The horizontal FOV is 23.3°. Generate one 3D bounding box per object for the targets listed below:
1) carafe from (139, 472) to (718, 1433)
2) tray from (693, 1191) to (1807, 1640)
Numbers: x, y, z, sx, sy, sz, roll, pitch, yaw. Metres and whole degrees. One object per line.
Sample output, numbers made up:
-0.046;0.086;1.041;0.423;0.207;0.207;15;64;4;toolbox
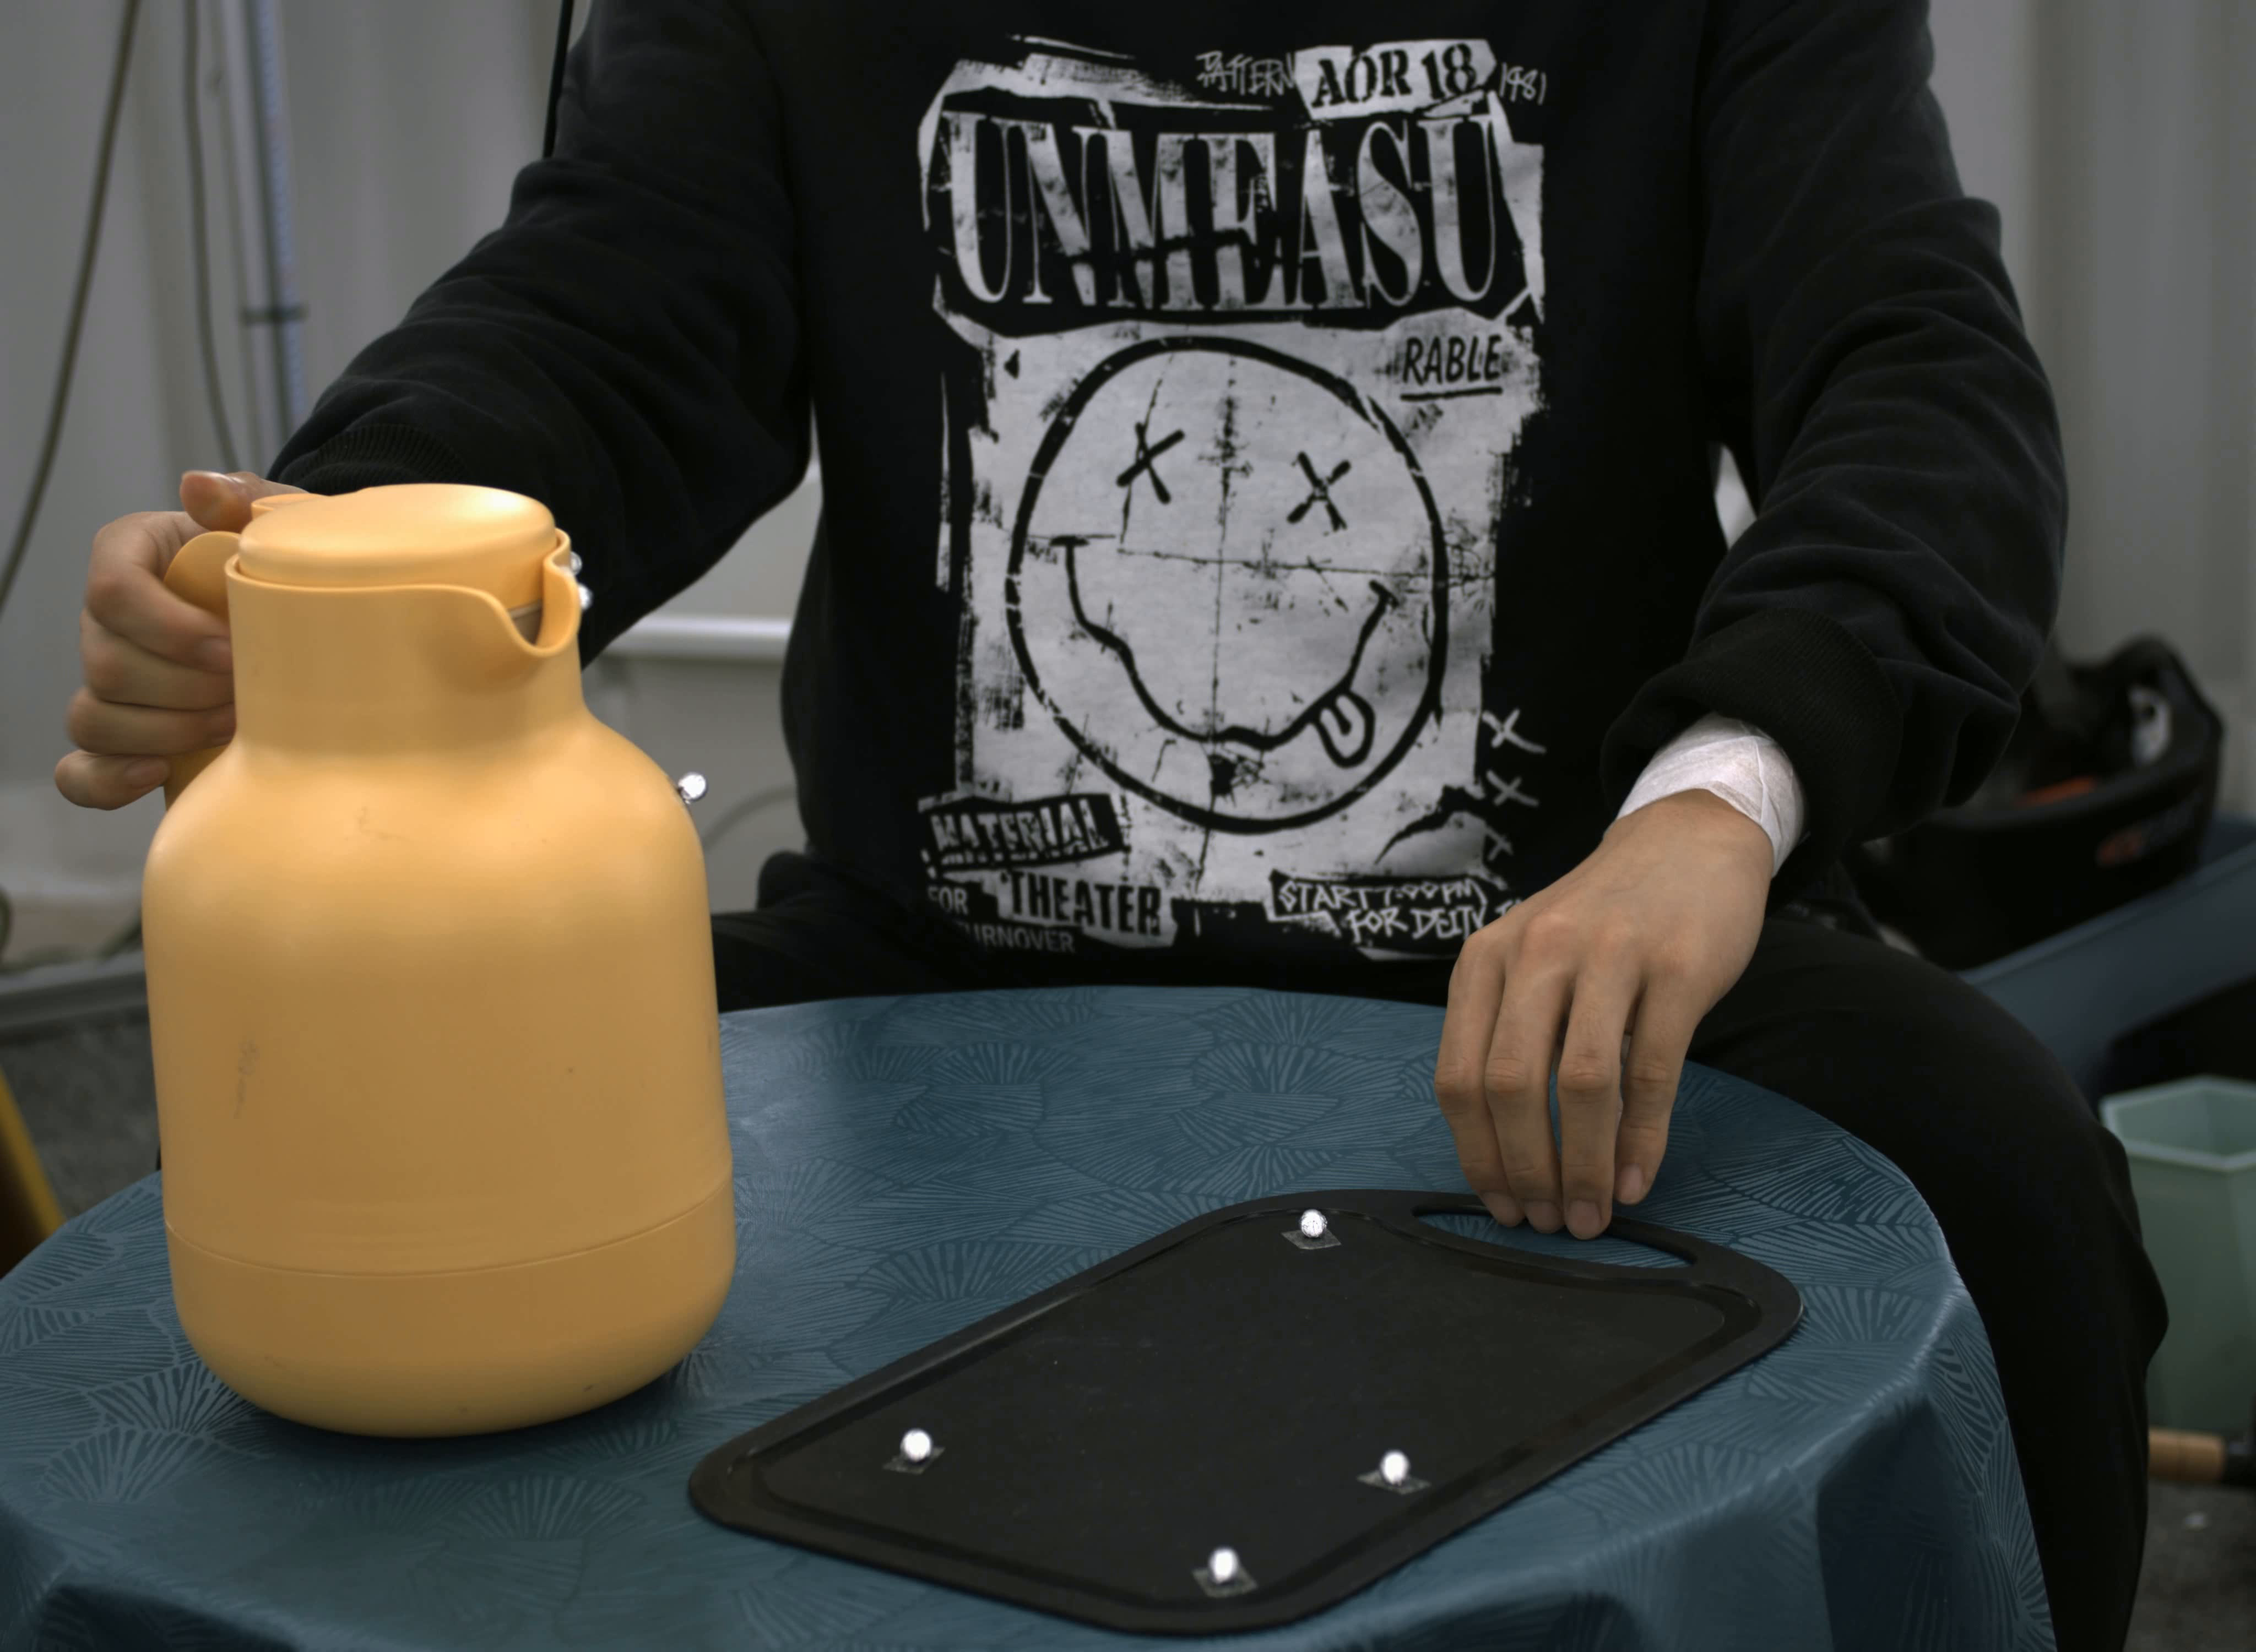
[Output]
-0.211;0.027;1.573;0.163;0.259;0.204;-10;17;-36;carafe
0.043;0.156;1.539;0.212;0.010;0.325;9;19;38;tray
